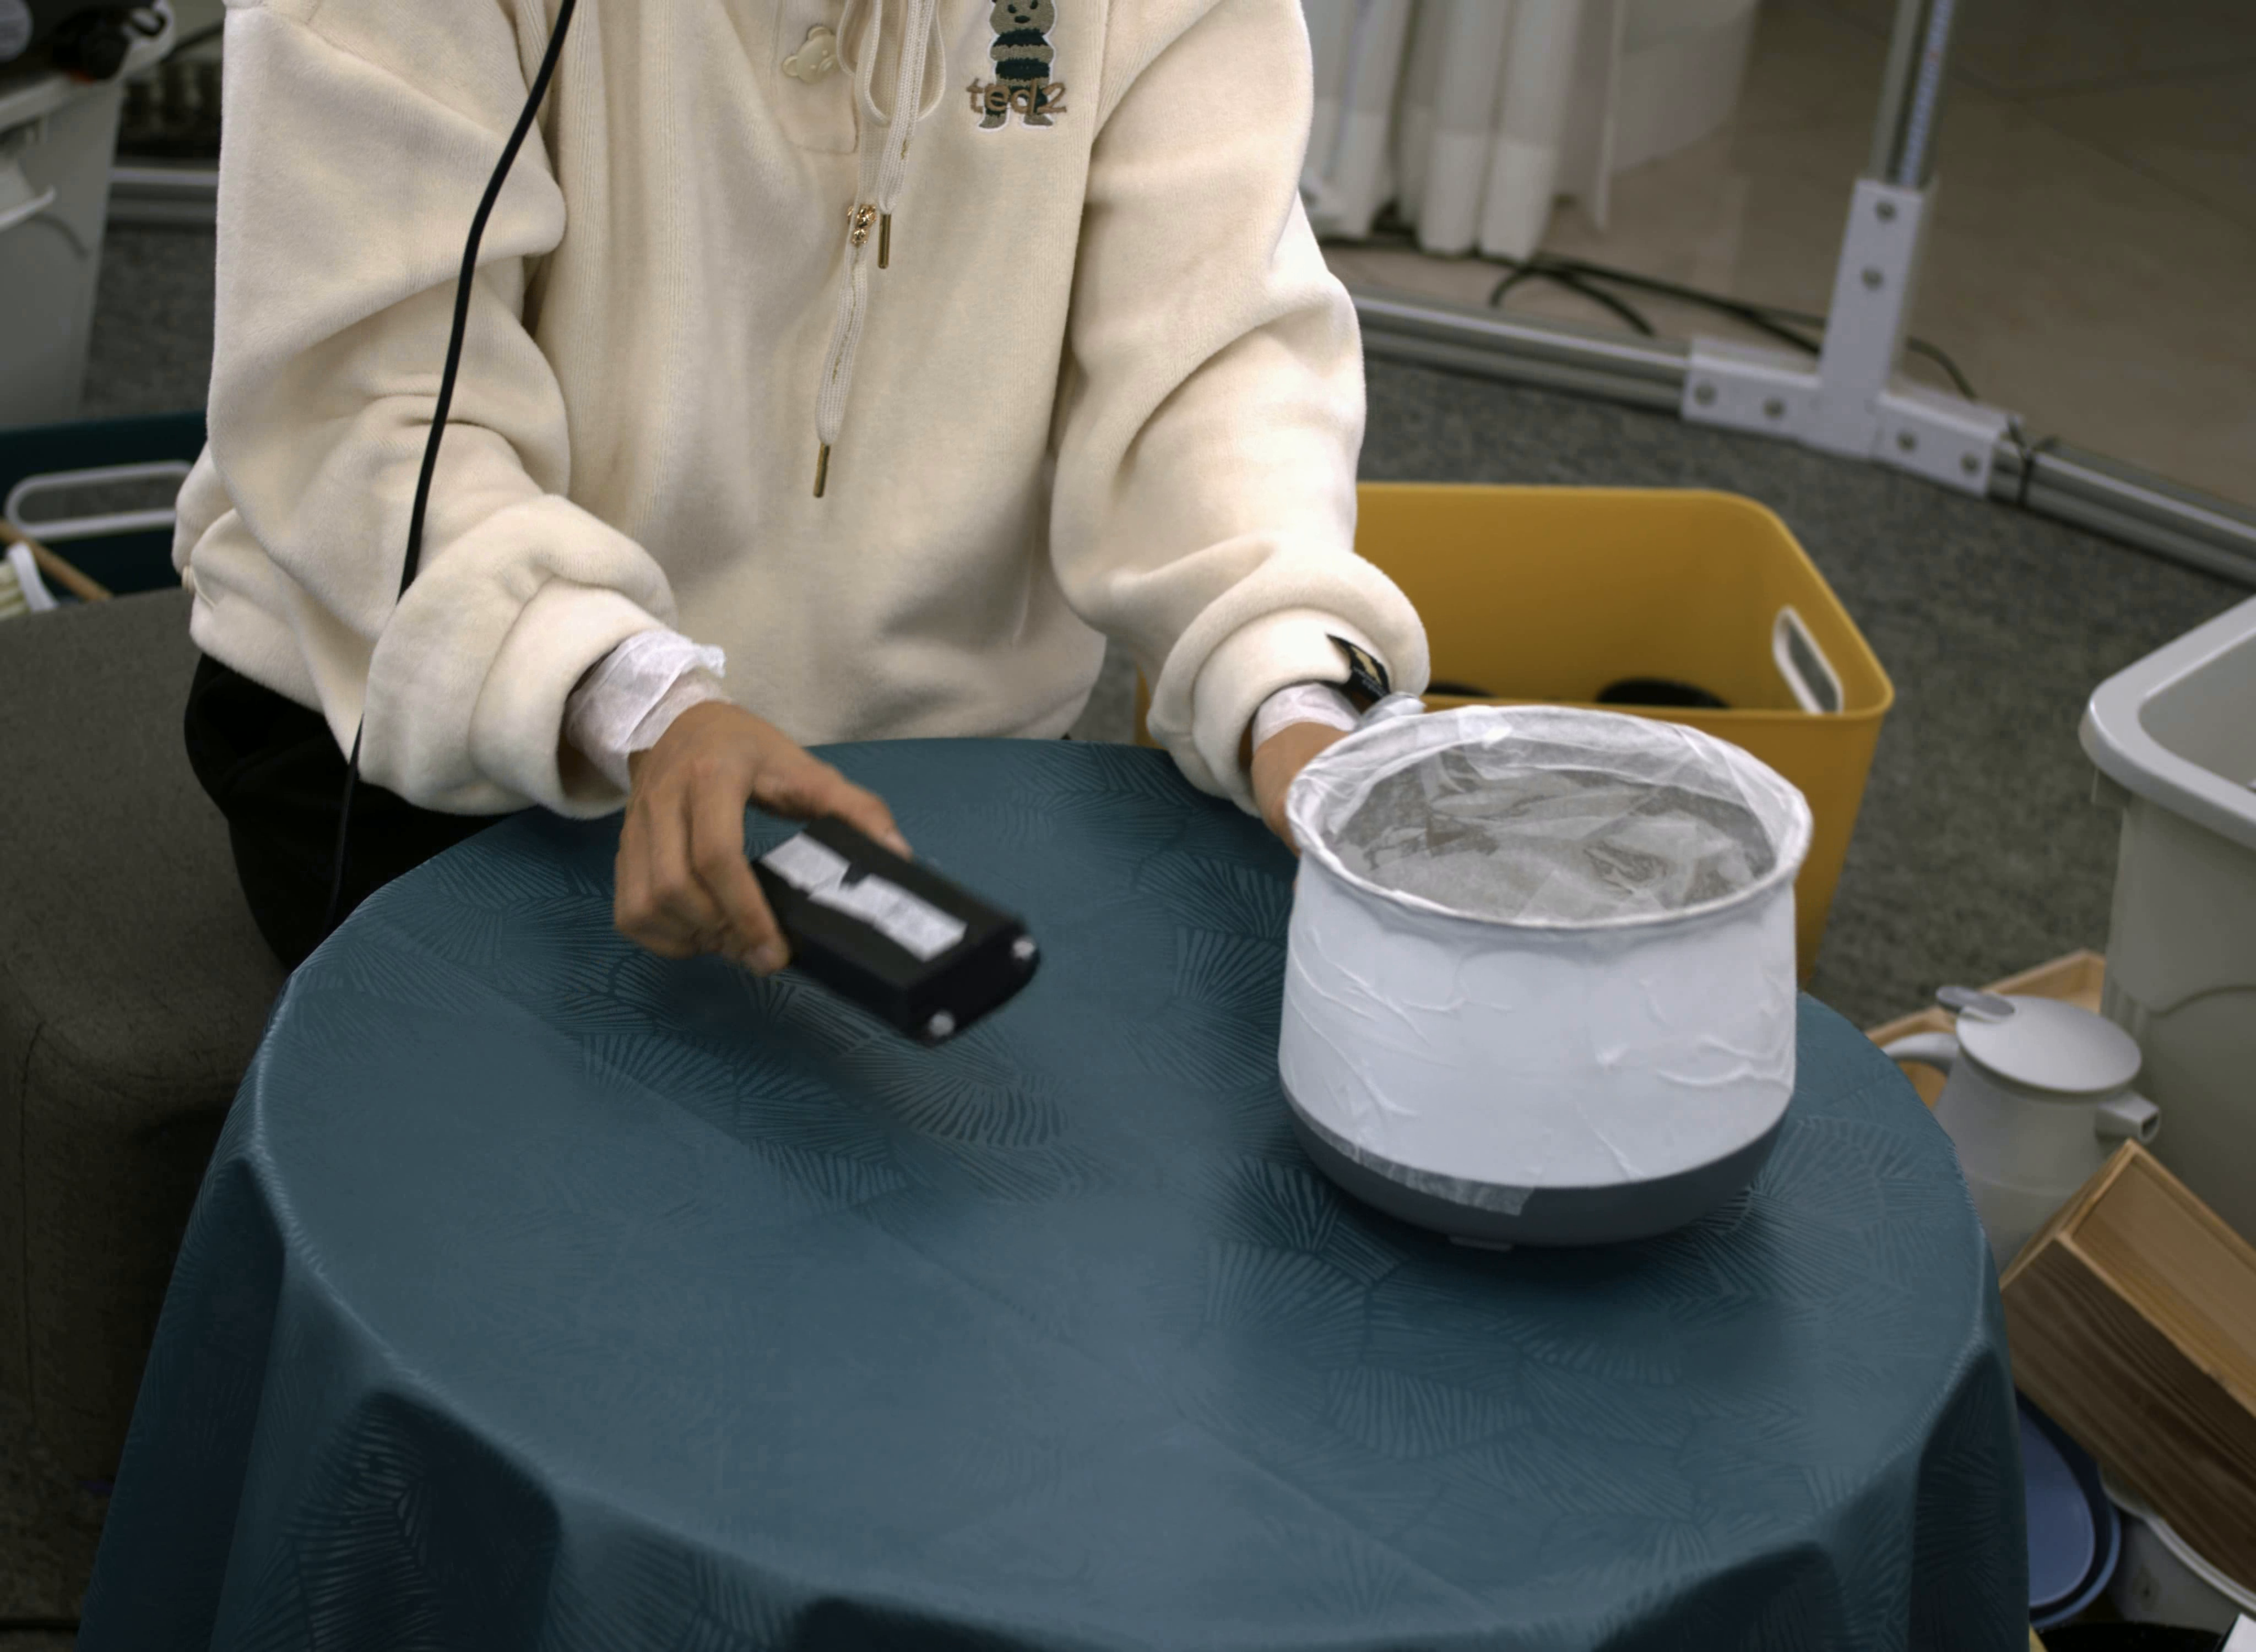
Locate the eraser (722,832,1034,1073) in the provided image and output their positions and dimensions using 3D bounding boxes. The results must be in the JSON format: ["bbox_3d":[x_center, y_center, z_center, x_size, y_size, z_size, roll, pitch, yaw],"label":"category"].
[{"bbox_3d":[-0.086,0.042,1.832,0.053,0.030,0.126,-31,33,-21],"label":"eraser"}]

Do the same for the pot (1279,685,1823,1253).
[{"bbox_3d":[0.128,0.042,1.830,0.177,0.136,0.236,-11,28,-26],"label":"pot"}]
